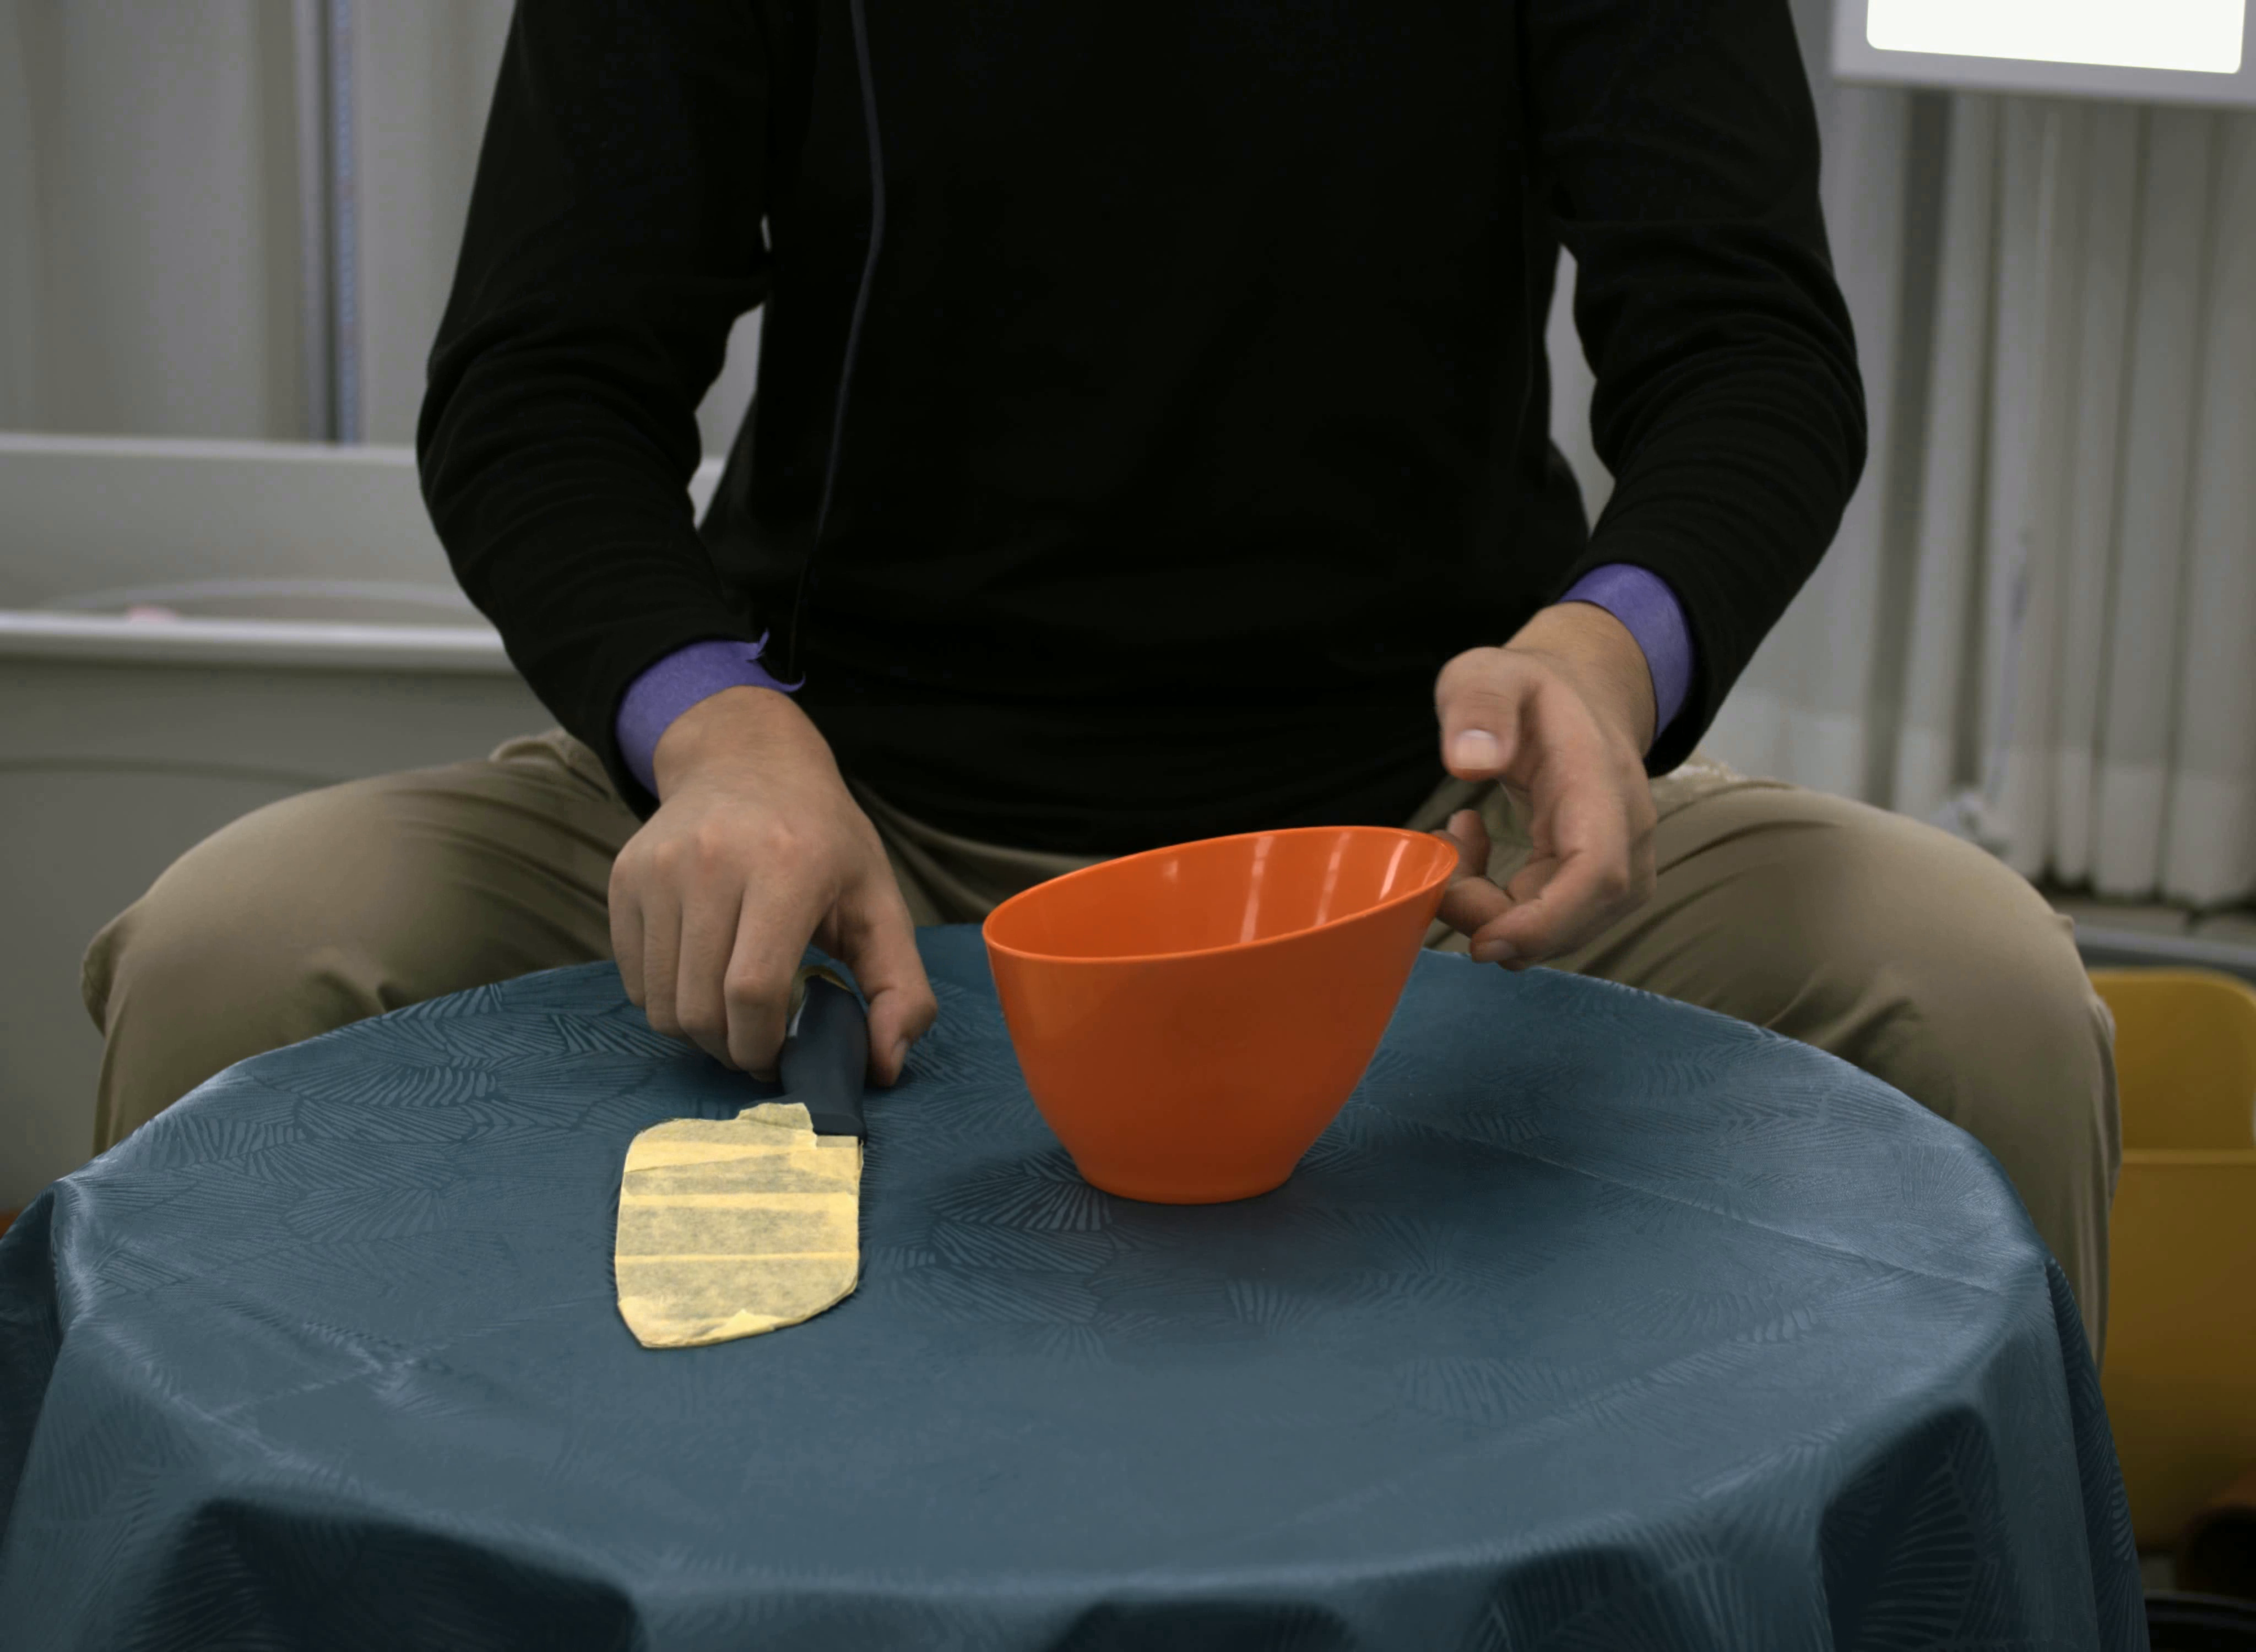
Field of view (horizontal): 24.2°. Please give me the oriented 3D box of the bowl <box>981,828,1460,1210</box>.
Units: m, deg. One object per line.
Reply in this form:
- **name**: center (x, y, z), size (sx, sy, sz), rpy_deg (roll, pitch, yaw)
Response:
- **bowl**: center (0.028, 0.060, 1.623), size (0.147, 0.105, 0.147), rpy_deg (0, 16, 1)

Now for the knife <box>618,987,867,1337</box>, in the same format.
- **knife**: center (-0.116, 0.103, 1.626), size (0.081, 0.027, 0.288), rpy_deg (4, 17, 0)
